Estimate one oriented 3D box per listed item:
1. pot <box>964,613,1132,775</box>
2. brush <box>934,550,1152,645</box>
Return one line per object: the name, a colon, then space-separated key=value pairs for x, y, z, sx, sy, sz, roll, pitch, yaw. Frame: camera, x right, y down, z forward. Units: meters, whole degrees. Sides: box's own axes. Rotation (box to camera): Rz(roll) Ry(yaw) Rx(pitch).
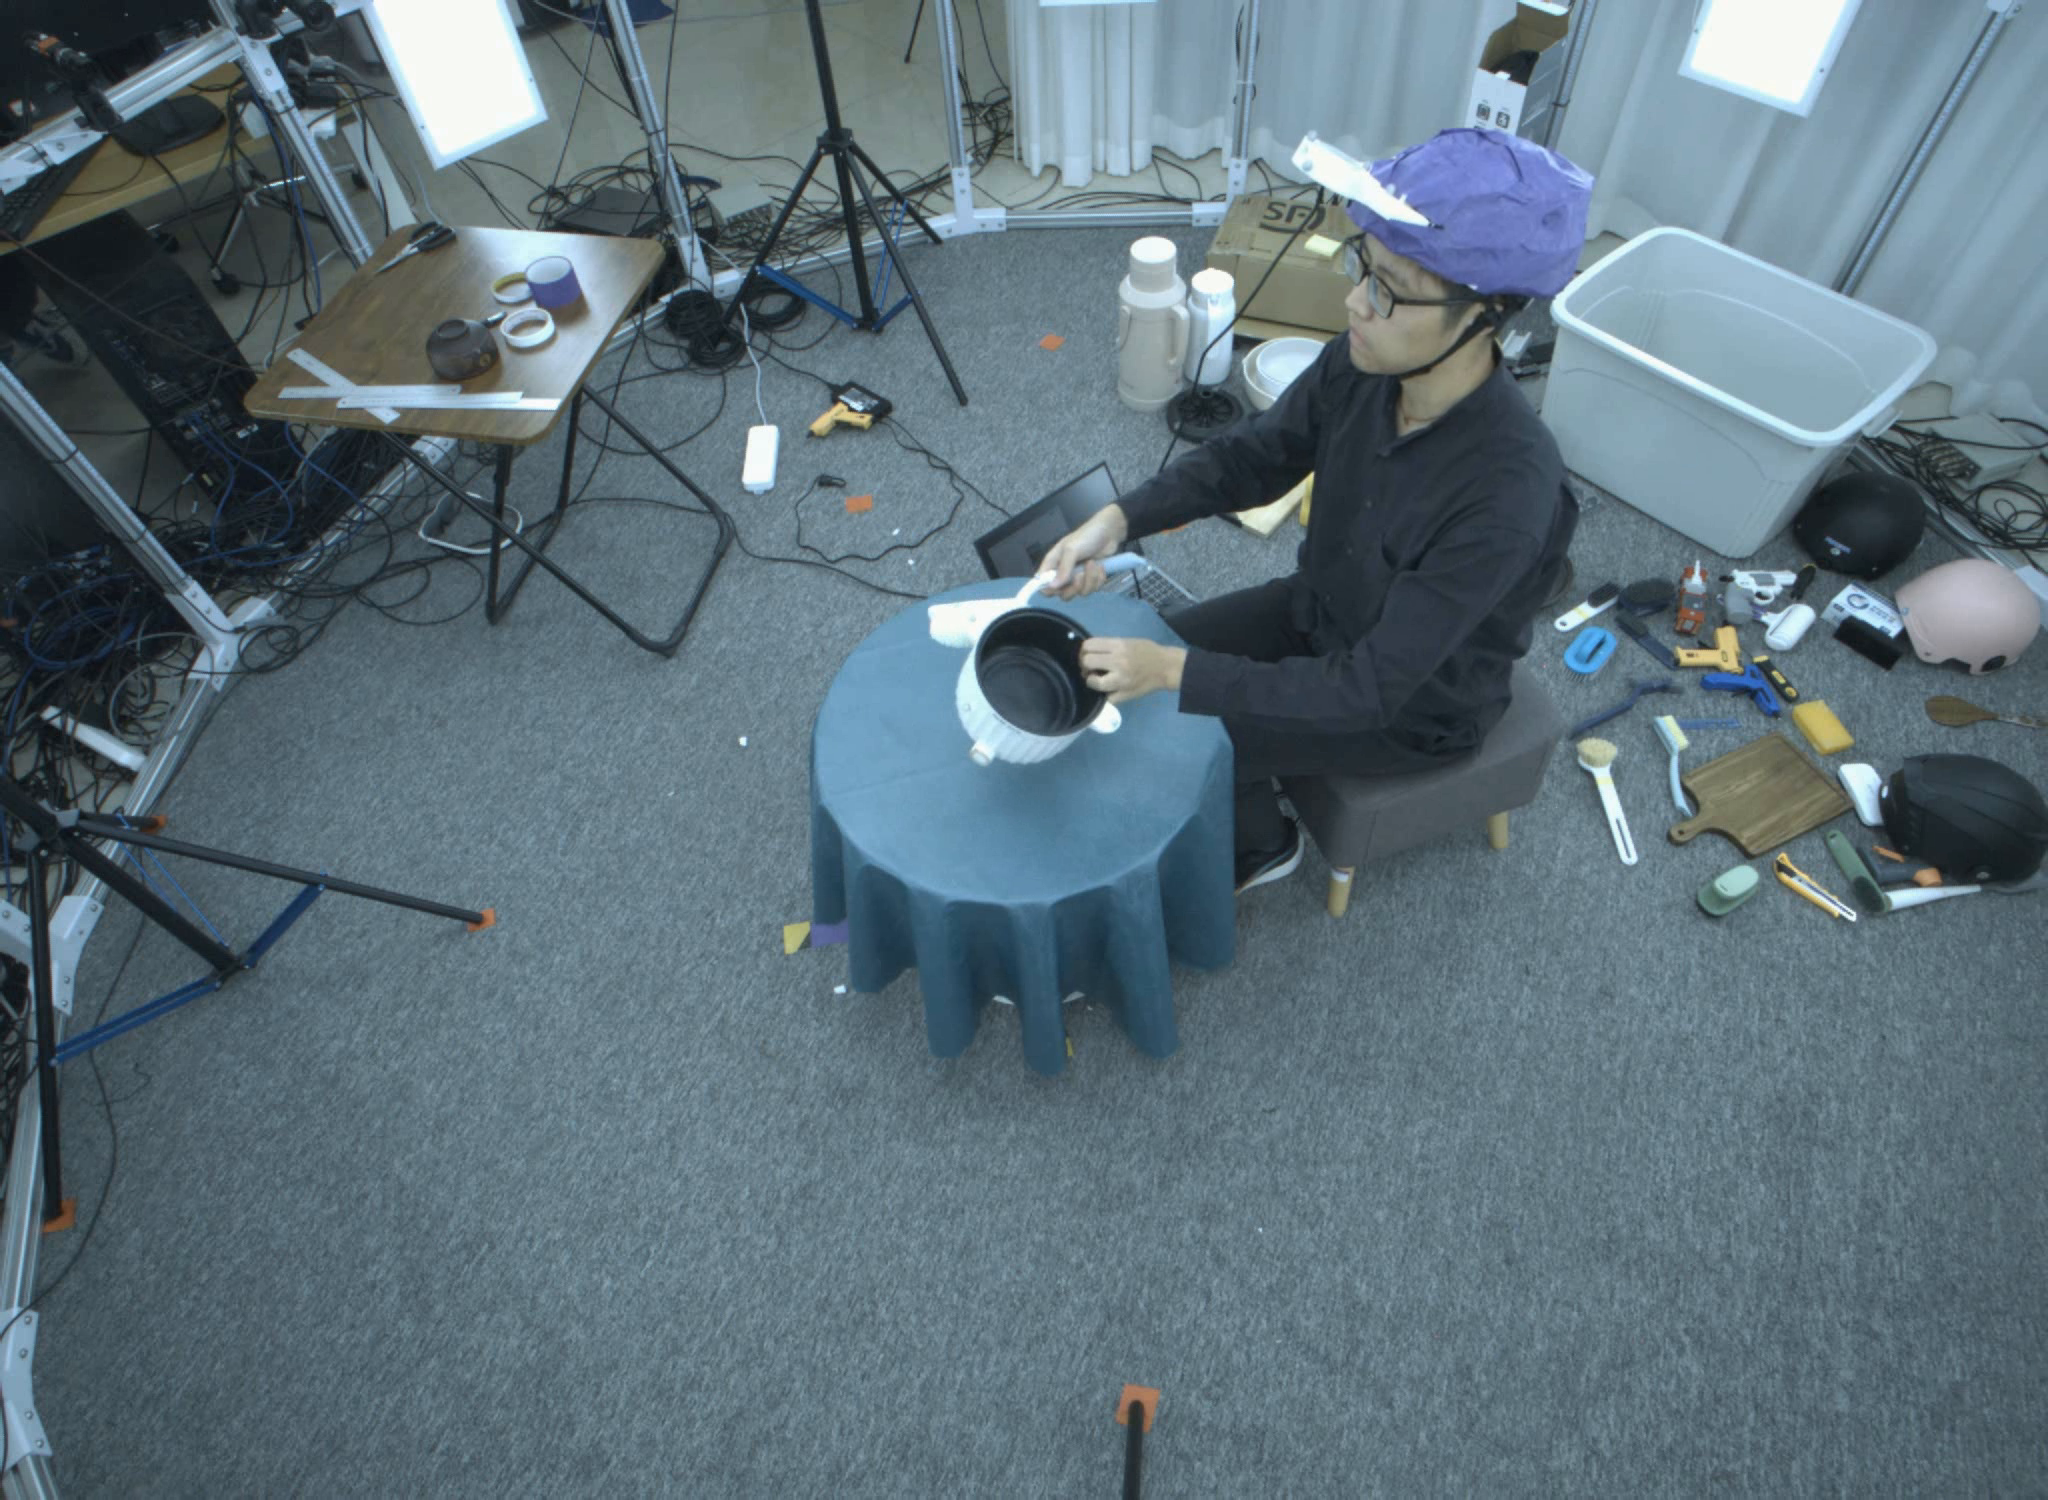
pot: x=0.014 y=-0.062 z=1.600 sx=0.241 sy=0.142 sz=0.191 roll=34 pitch=58 yaw=-4
brush: x=0.038 y=-0.199 z=1.665 sx=0.329 sy=0.085 sz=0.081 roll=-16 pitch=16 yaw=-17
